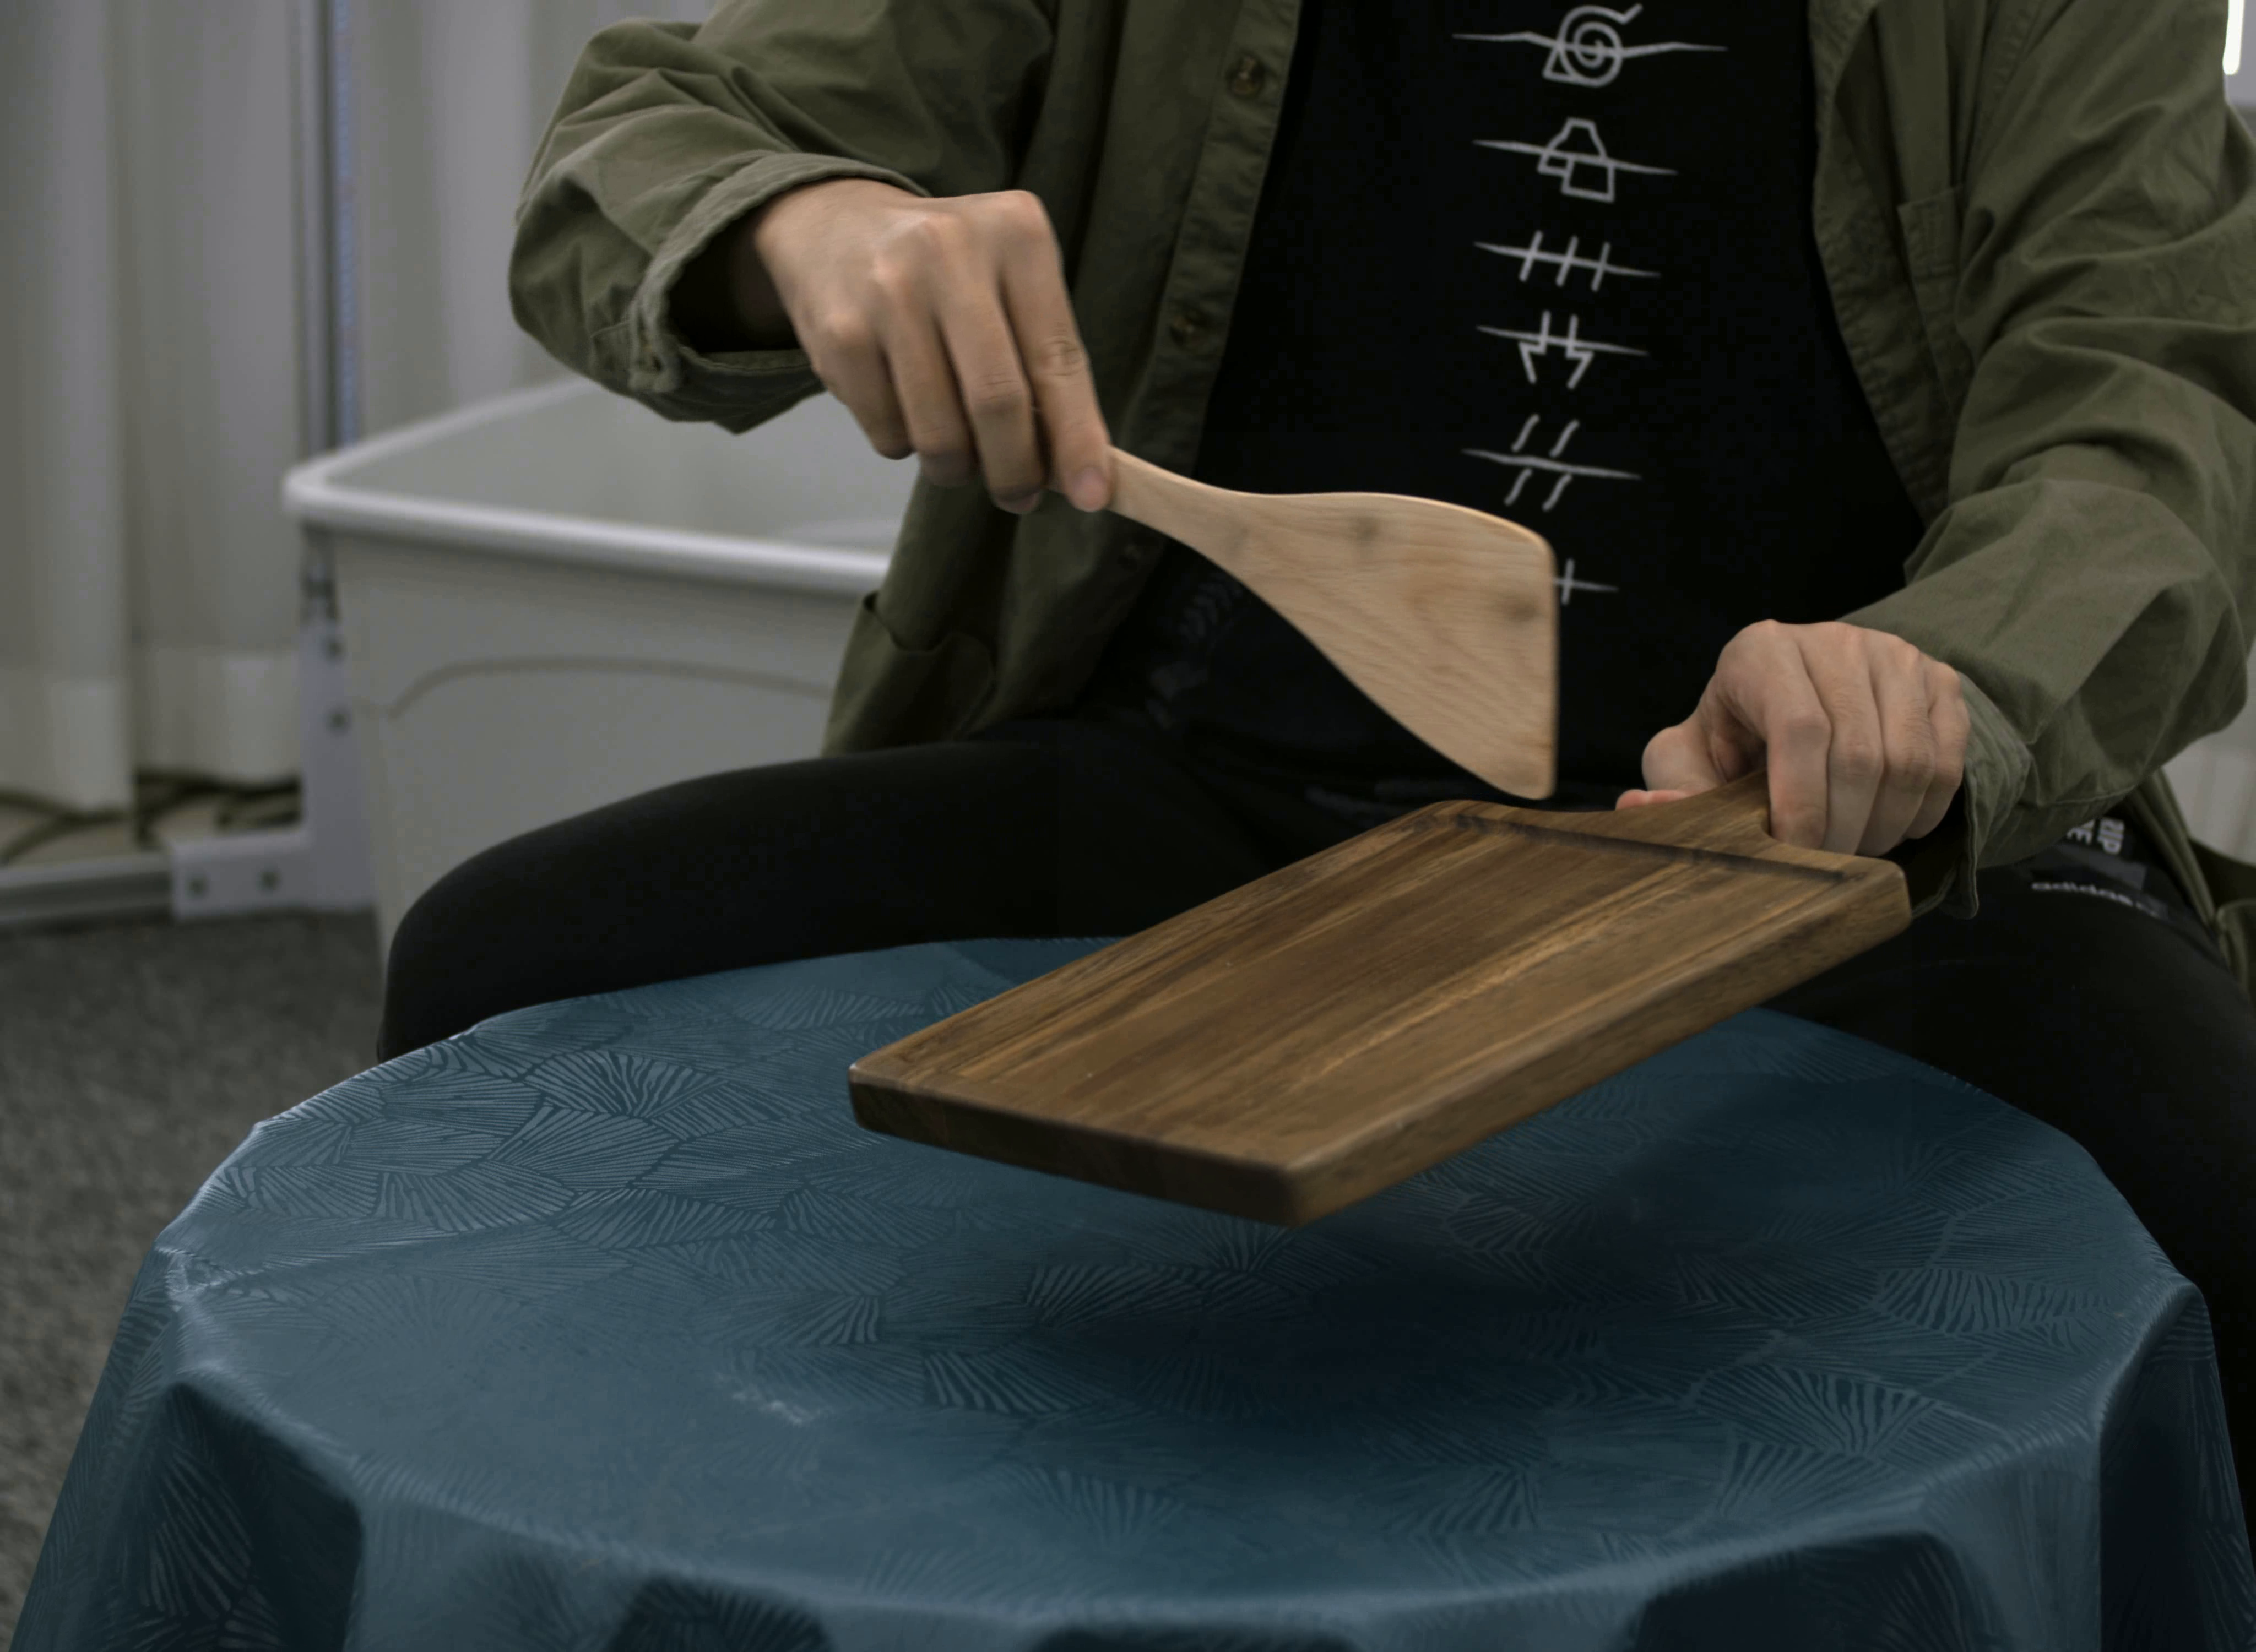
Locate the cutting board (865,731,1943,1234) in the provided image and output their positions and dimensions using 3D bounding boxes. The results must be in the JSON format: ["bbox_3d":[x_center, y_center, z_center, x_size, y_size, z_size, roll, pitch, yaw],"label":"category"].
[{"bbox_3d":[0.115,0.034,1.529,0.353,0.023,0.198,-22,20,-36],"label":"cutting board"}]

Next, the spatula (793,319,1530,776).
[{"bbox_3d":[0.006,-0.102,1.617,0.323,0.080,0.016,25,30,37],"label":"spatula"}]
